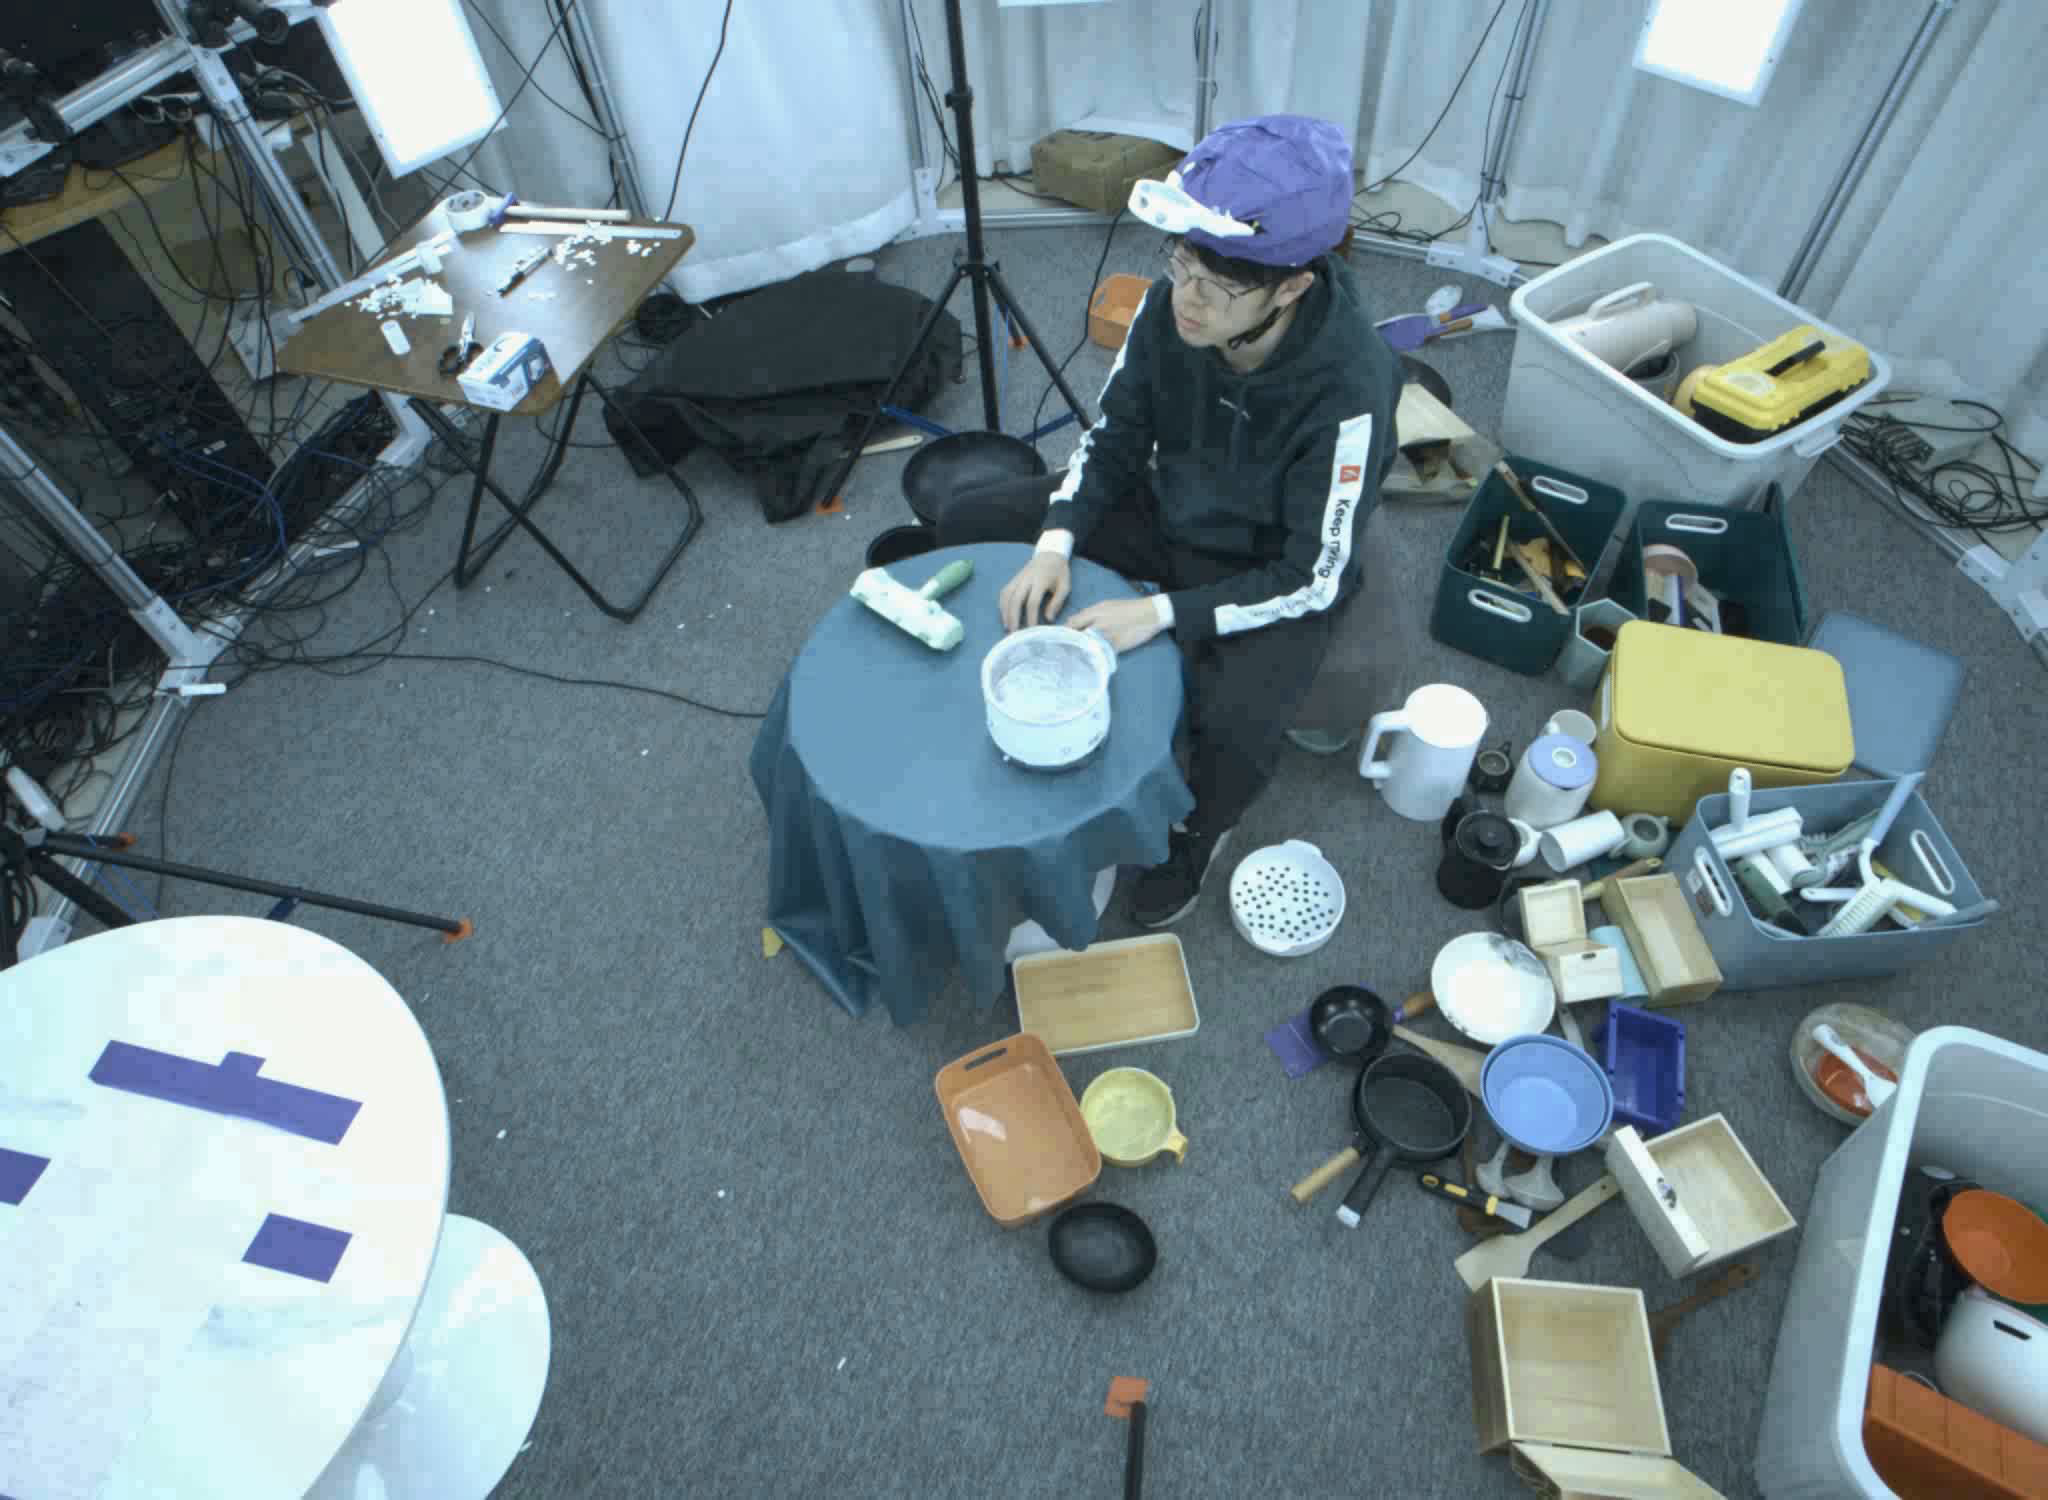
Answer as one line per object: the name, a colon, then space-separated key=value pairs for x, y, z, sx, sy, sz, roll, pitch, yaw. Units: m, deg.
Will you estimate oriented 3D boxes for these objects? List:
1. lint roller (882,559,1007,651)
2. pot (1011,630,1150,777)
lint roller: x=-0.097 y=-0.261 z=1.925 sx=0.195 sy=0.083 sz=0.184 roll=35 pitch=68 yaw=24
pot: x=0.093 y=-0.078 z=1.751 sx=0.175 sy=0.138 sz=0.235 roll=35 pitch=64 yaw=24
